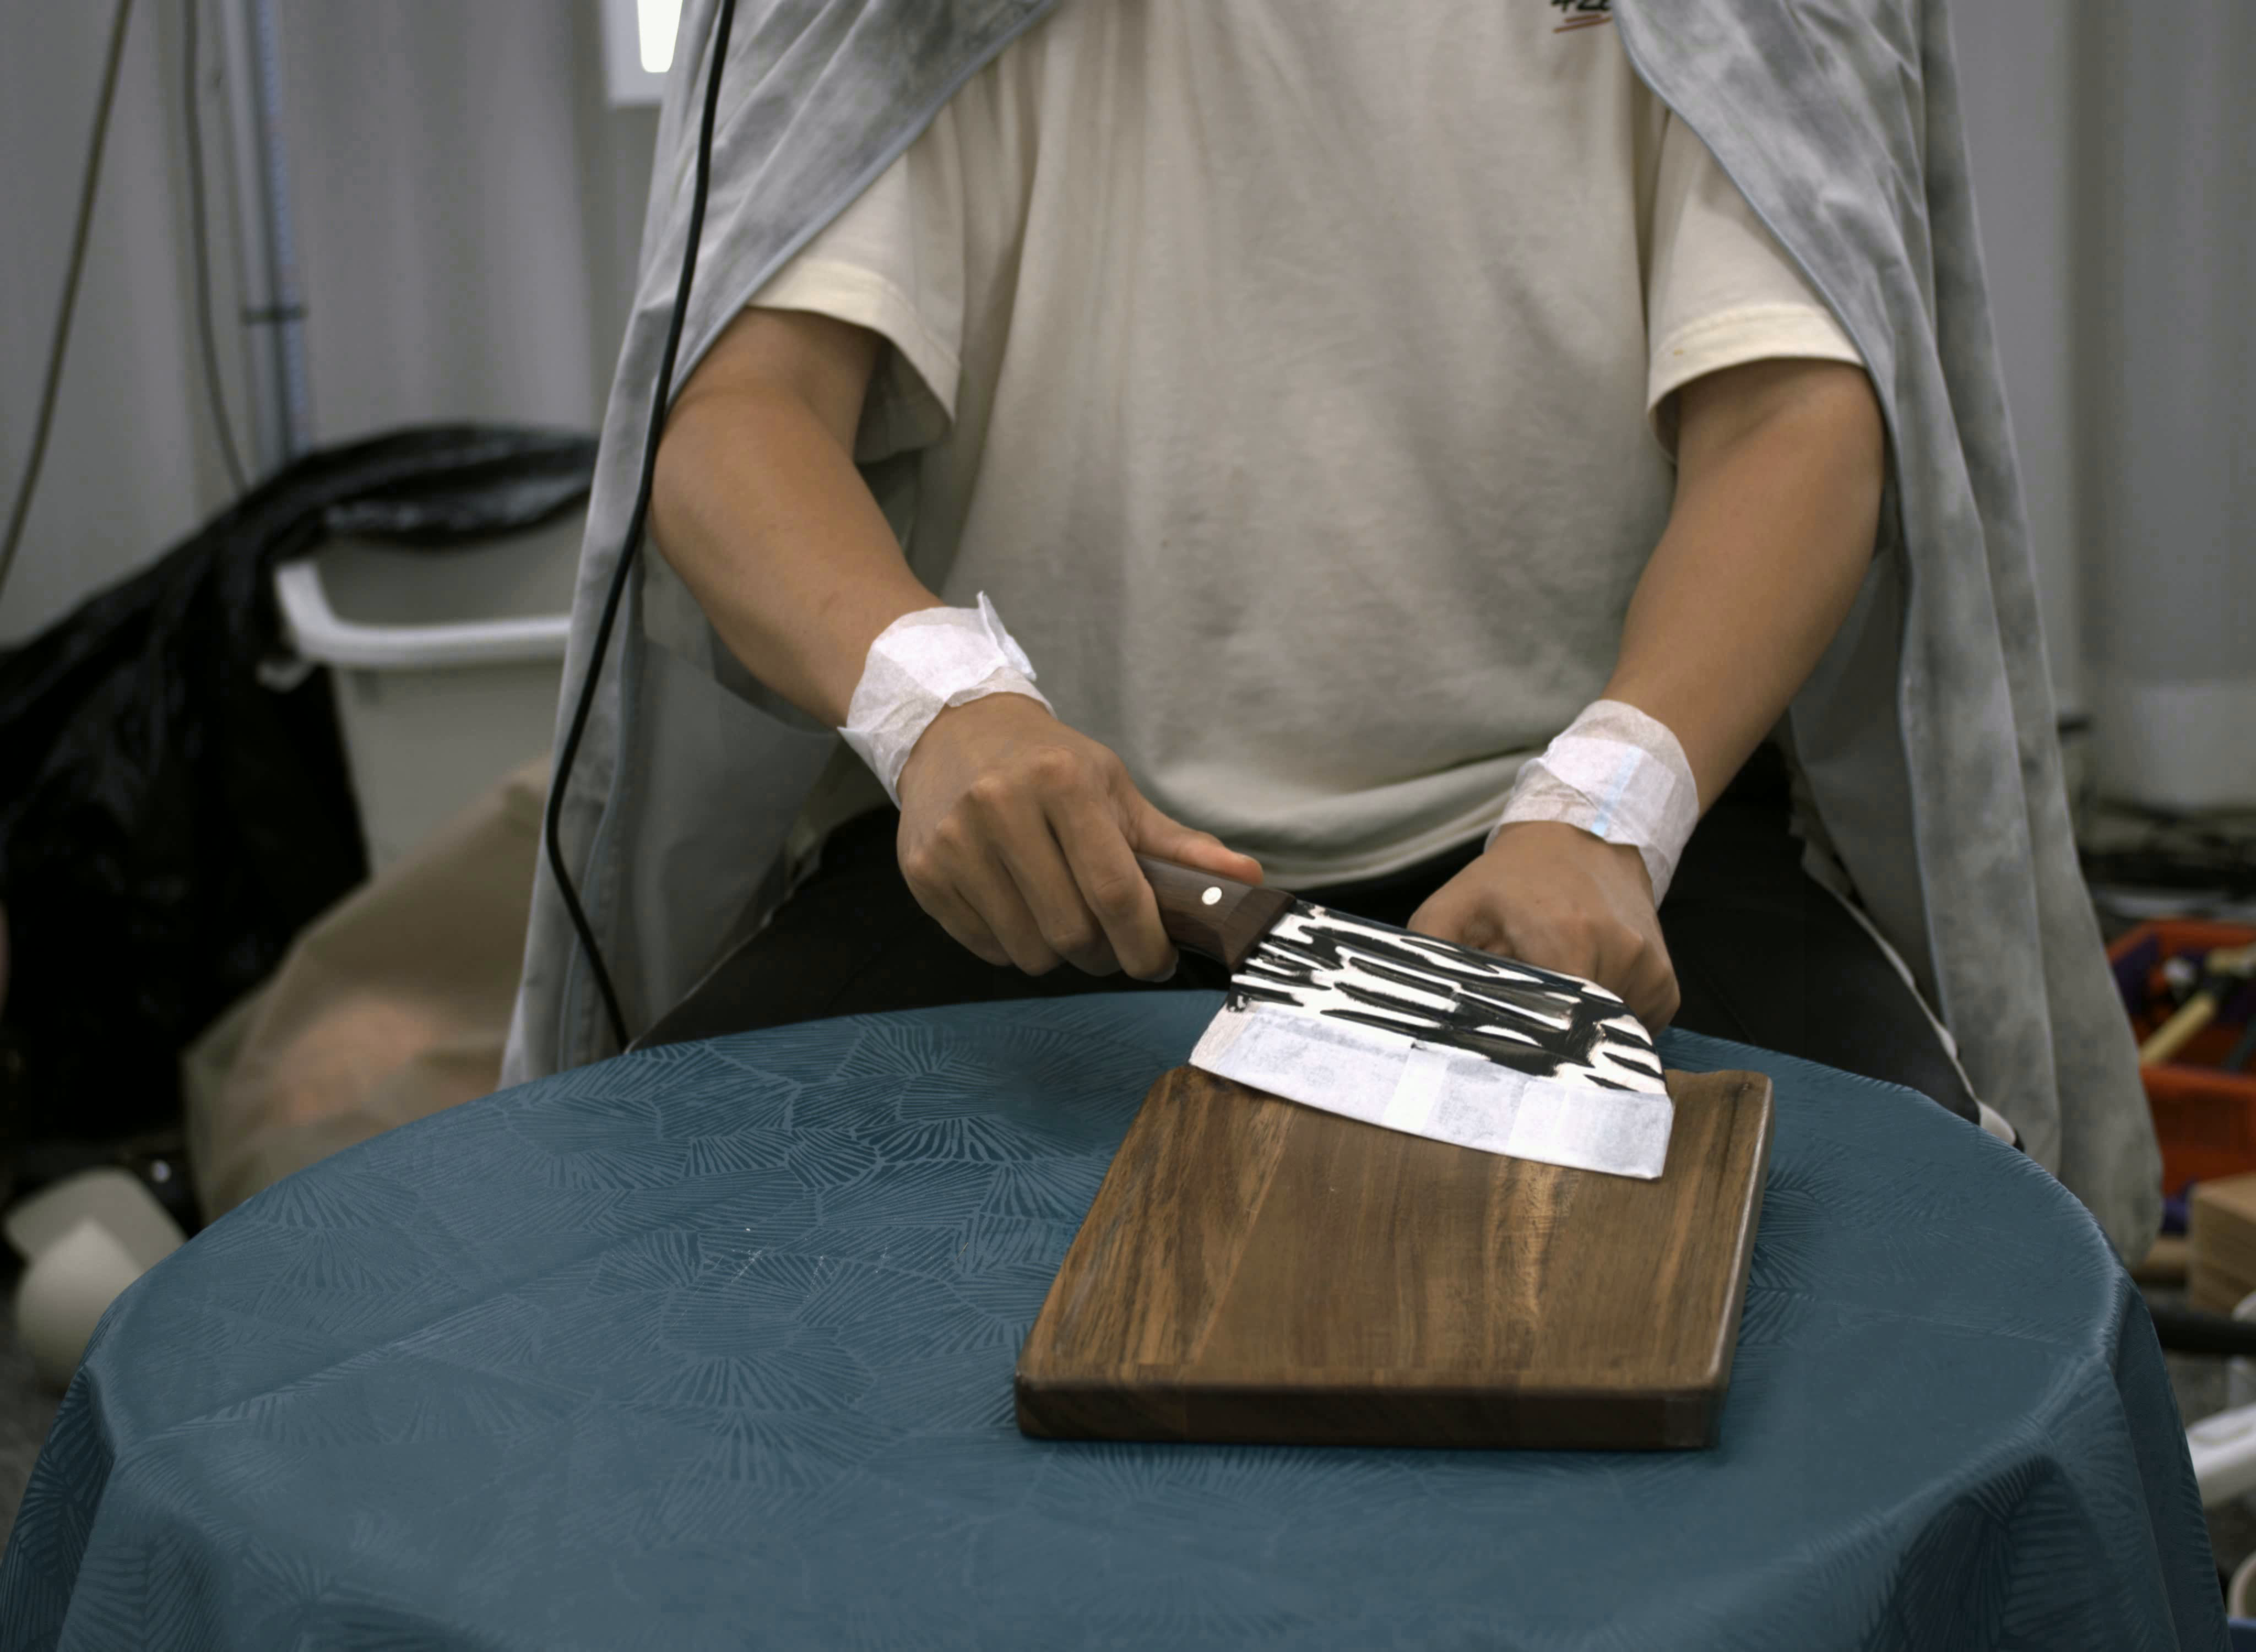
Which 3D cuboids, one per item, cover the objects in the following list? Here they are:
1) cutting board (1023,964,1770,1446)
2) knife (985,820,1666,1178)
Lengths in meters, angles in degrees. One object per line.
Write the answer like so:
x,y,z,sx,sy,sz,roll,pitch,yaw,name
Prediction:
0.093,0.108,1.656,0.201,0.023,0.354,0,17,10,cutting board
0.056,0.054,1.733,0.301,0.023,0.068,16,64,39,knife
